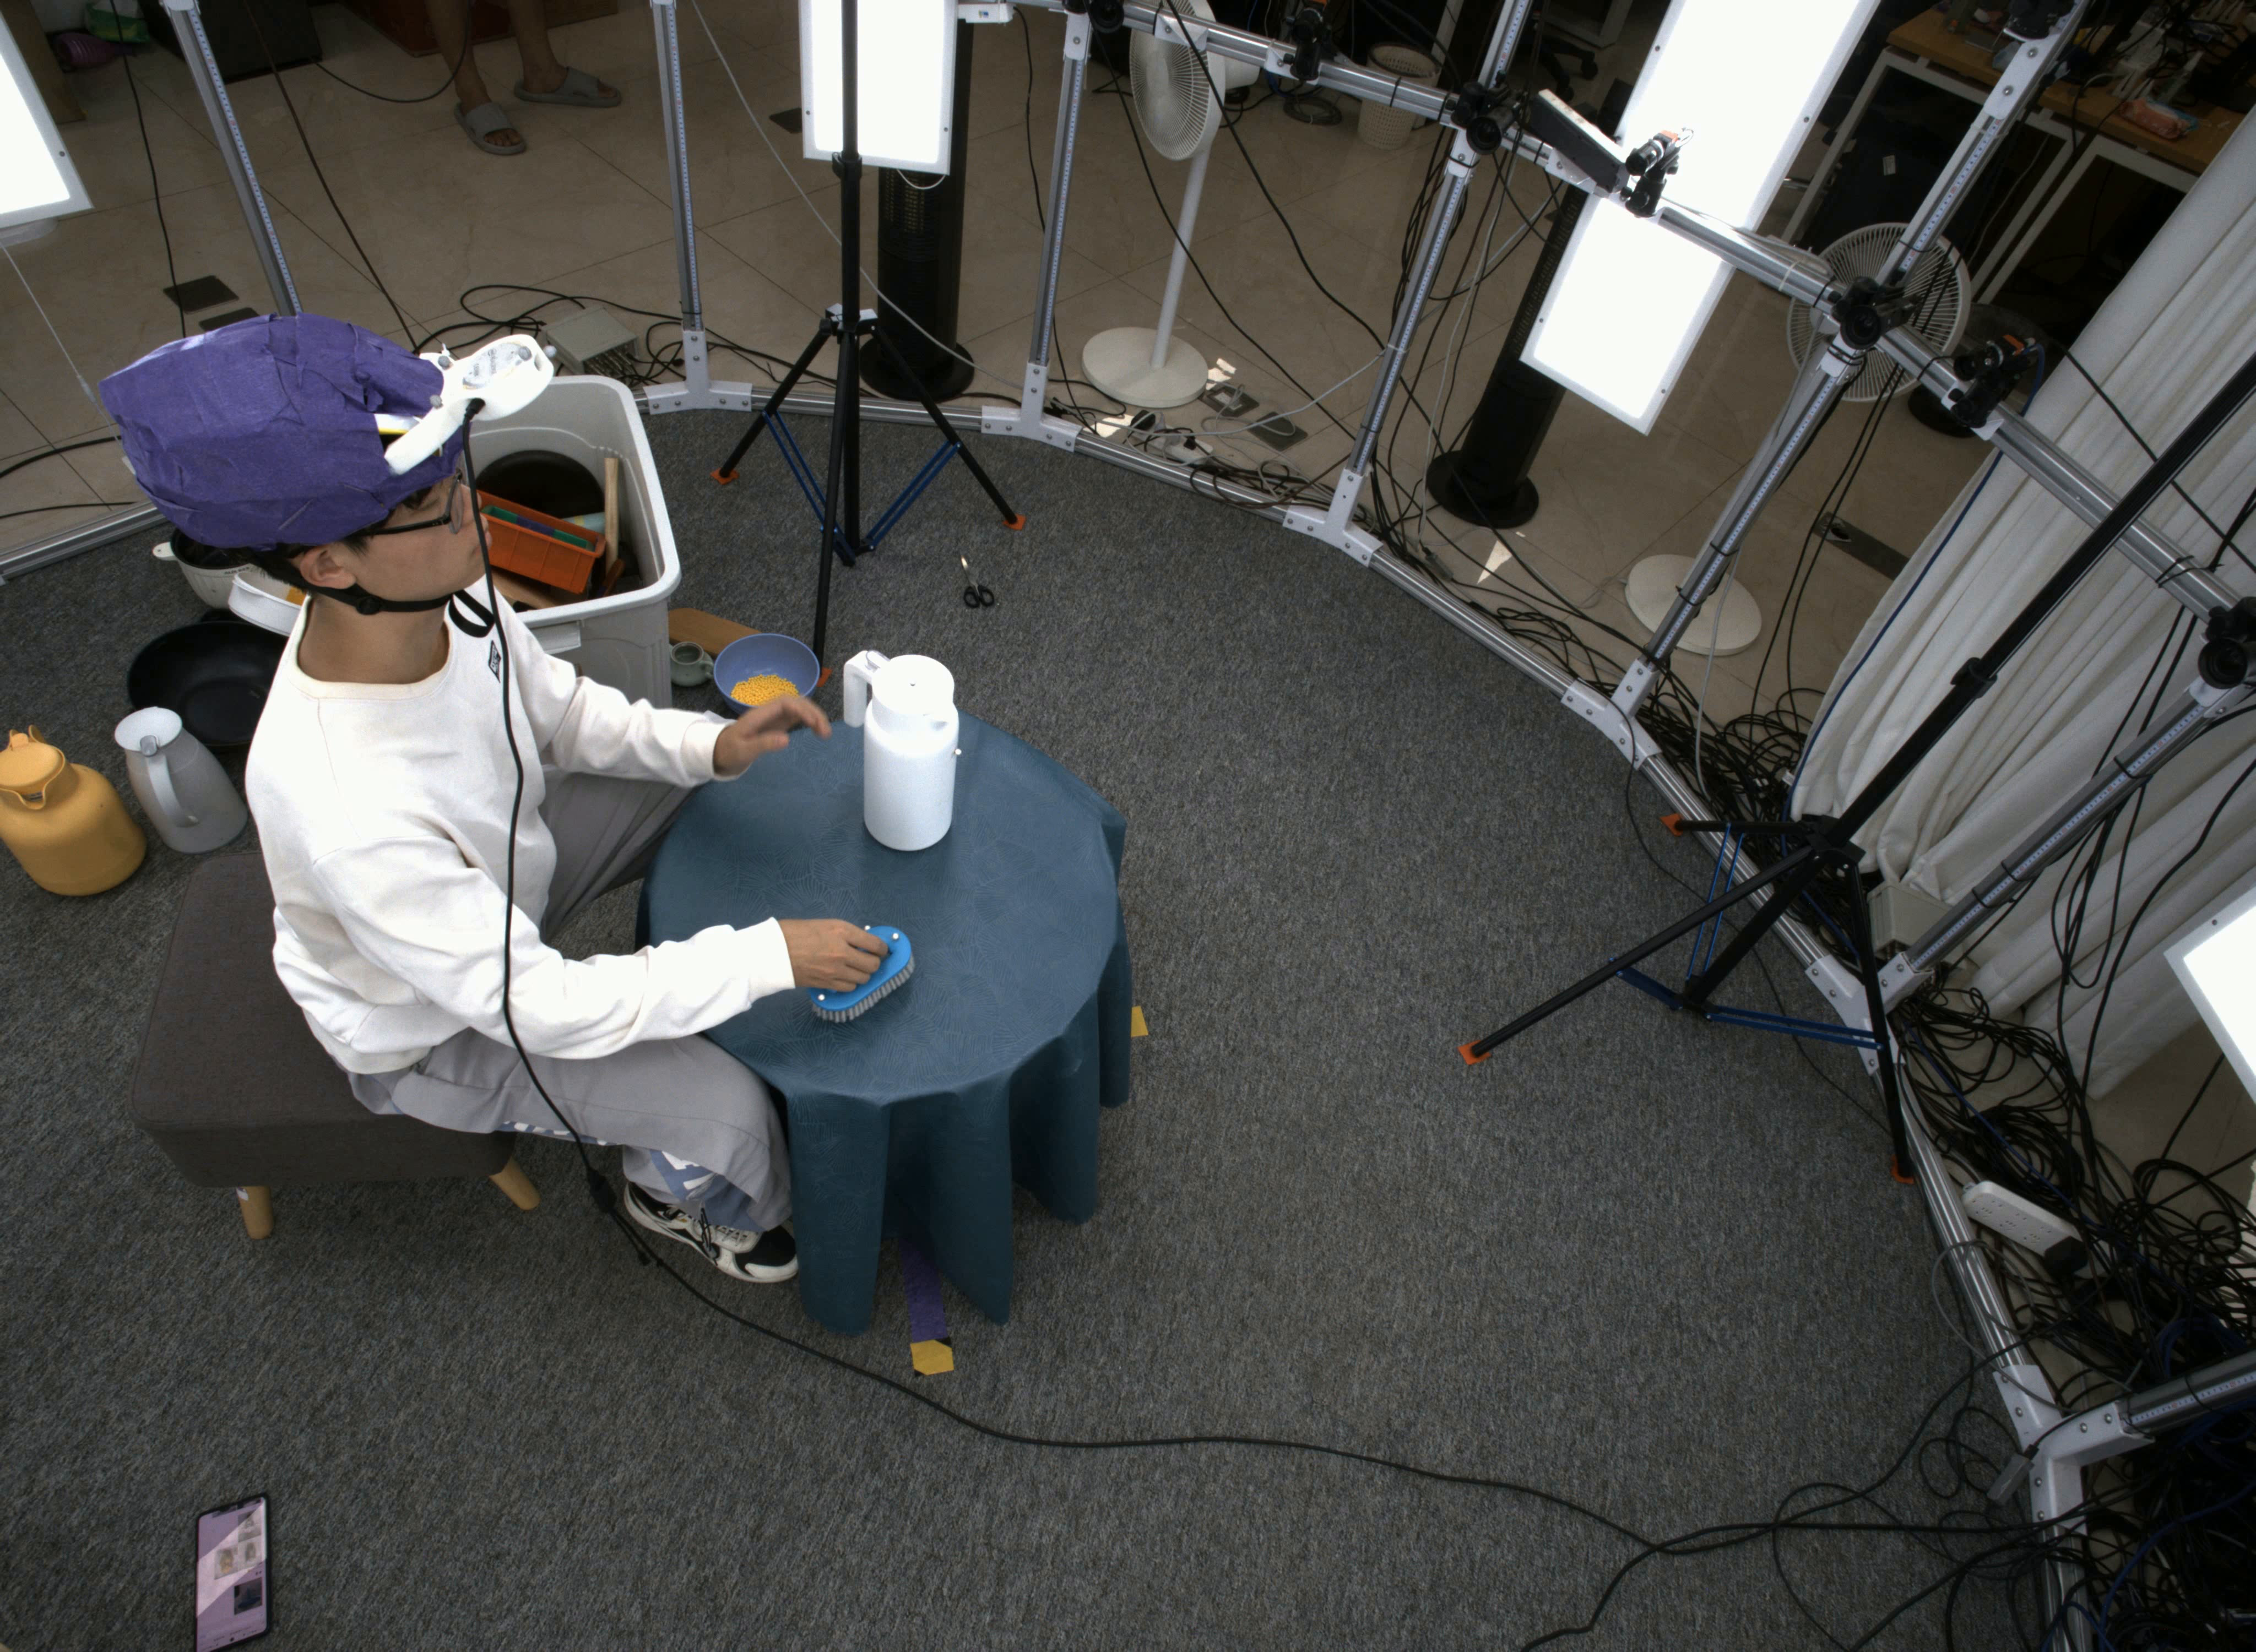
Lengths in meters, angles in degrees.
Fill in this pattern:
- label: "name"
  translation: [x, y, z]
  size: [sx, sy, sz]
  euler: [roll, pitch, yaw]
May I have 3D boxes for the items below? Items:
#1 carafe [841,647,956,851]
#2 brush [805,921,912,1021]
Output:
- label: "carafe"
  translation: [-0.296, -0.101, 1.669]
  size: [0.169, 0.275, 0.124]
  euler: [33, 56, 15]
- label: "brush"
  translation: [-0.322, 0.166, 1.561]
  size: [0.142, 0.065, 0.082]
  euler: [-38, 68, -26]
